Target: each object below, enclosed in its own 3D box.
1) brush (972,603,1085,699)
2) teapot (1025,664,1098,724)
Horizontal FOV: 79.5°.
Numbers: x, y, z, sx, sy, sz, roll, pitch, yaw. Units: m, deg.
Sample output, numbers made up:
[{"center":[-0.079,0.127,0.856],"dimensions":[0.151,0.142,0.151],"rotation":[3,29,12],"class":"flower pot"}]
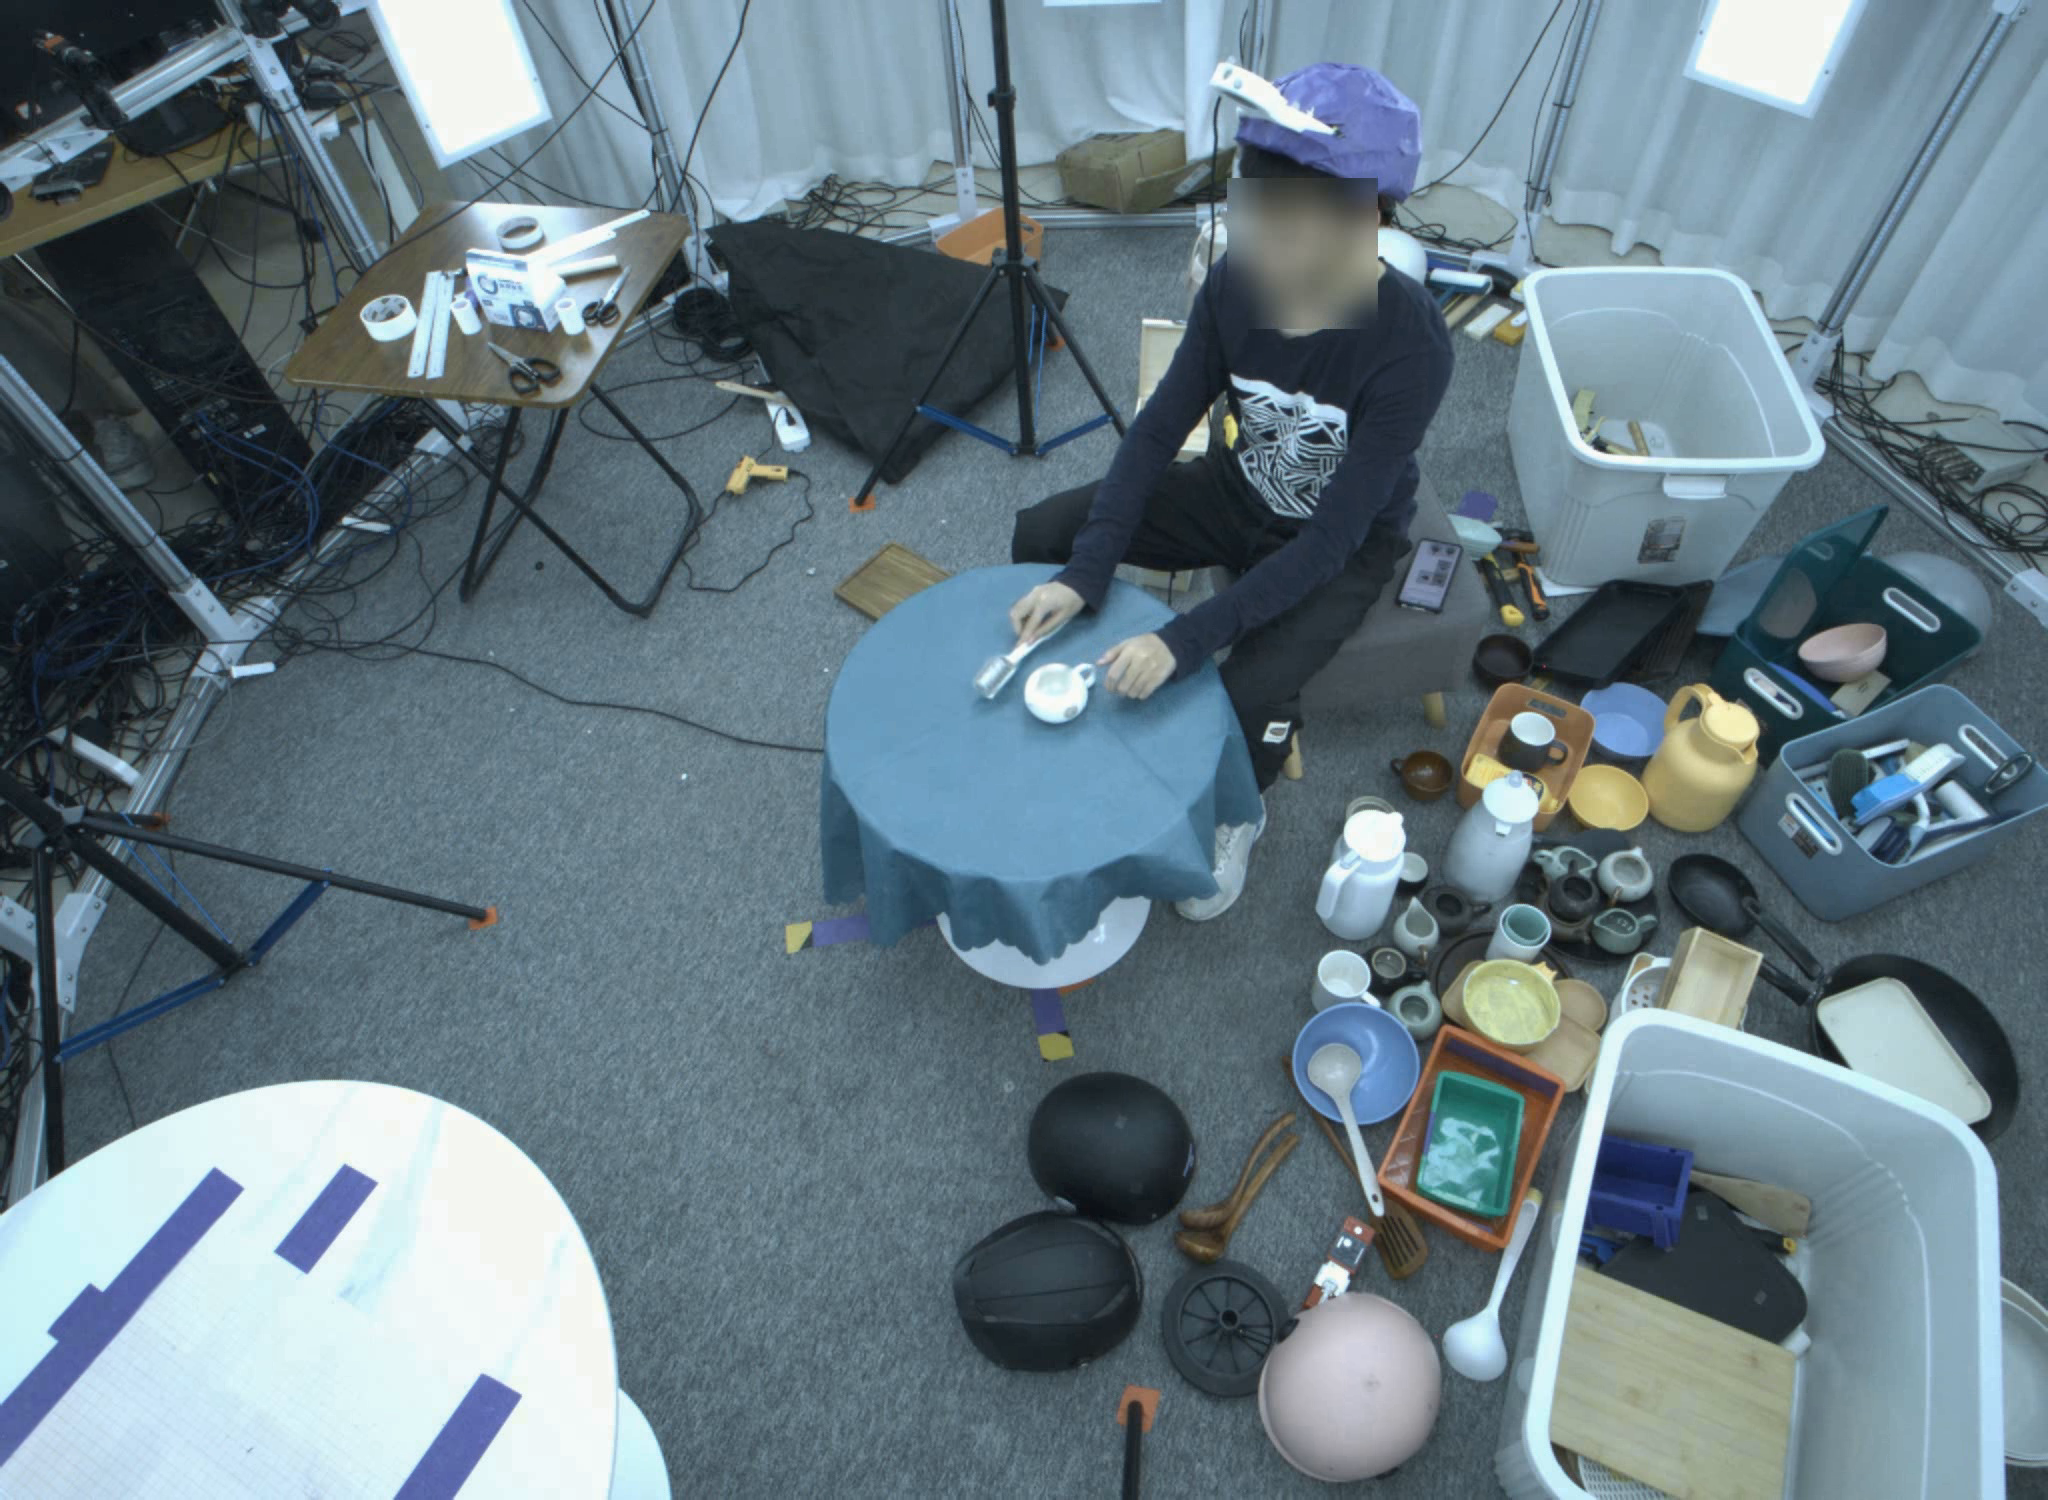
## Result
[{"center":[0.012,-0.162,1.865],"dimensions":[0.034,0.050,0.245],"rotation":[40,63,16],"class":"brush"},{"center":[0.056,-0.087,1.807],"dimensions":[0.128,0.057,0.091],"rotation":[-35,55,-23],"class":"teapot"}]
